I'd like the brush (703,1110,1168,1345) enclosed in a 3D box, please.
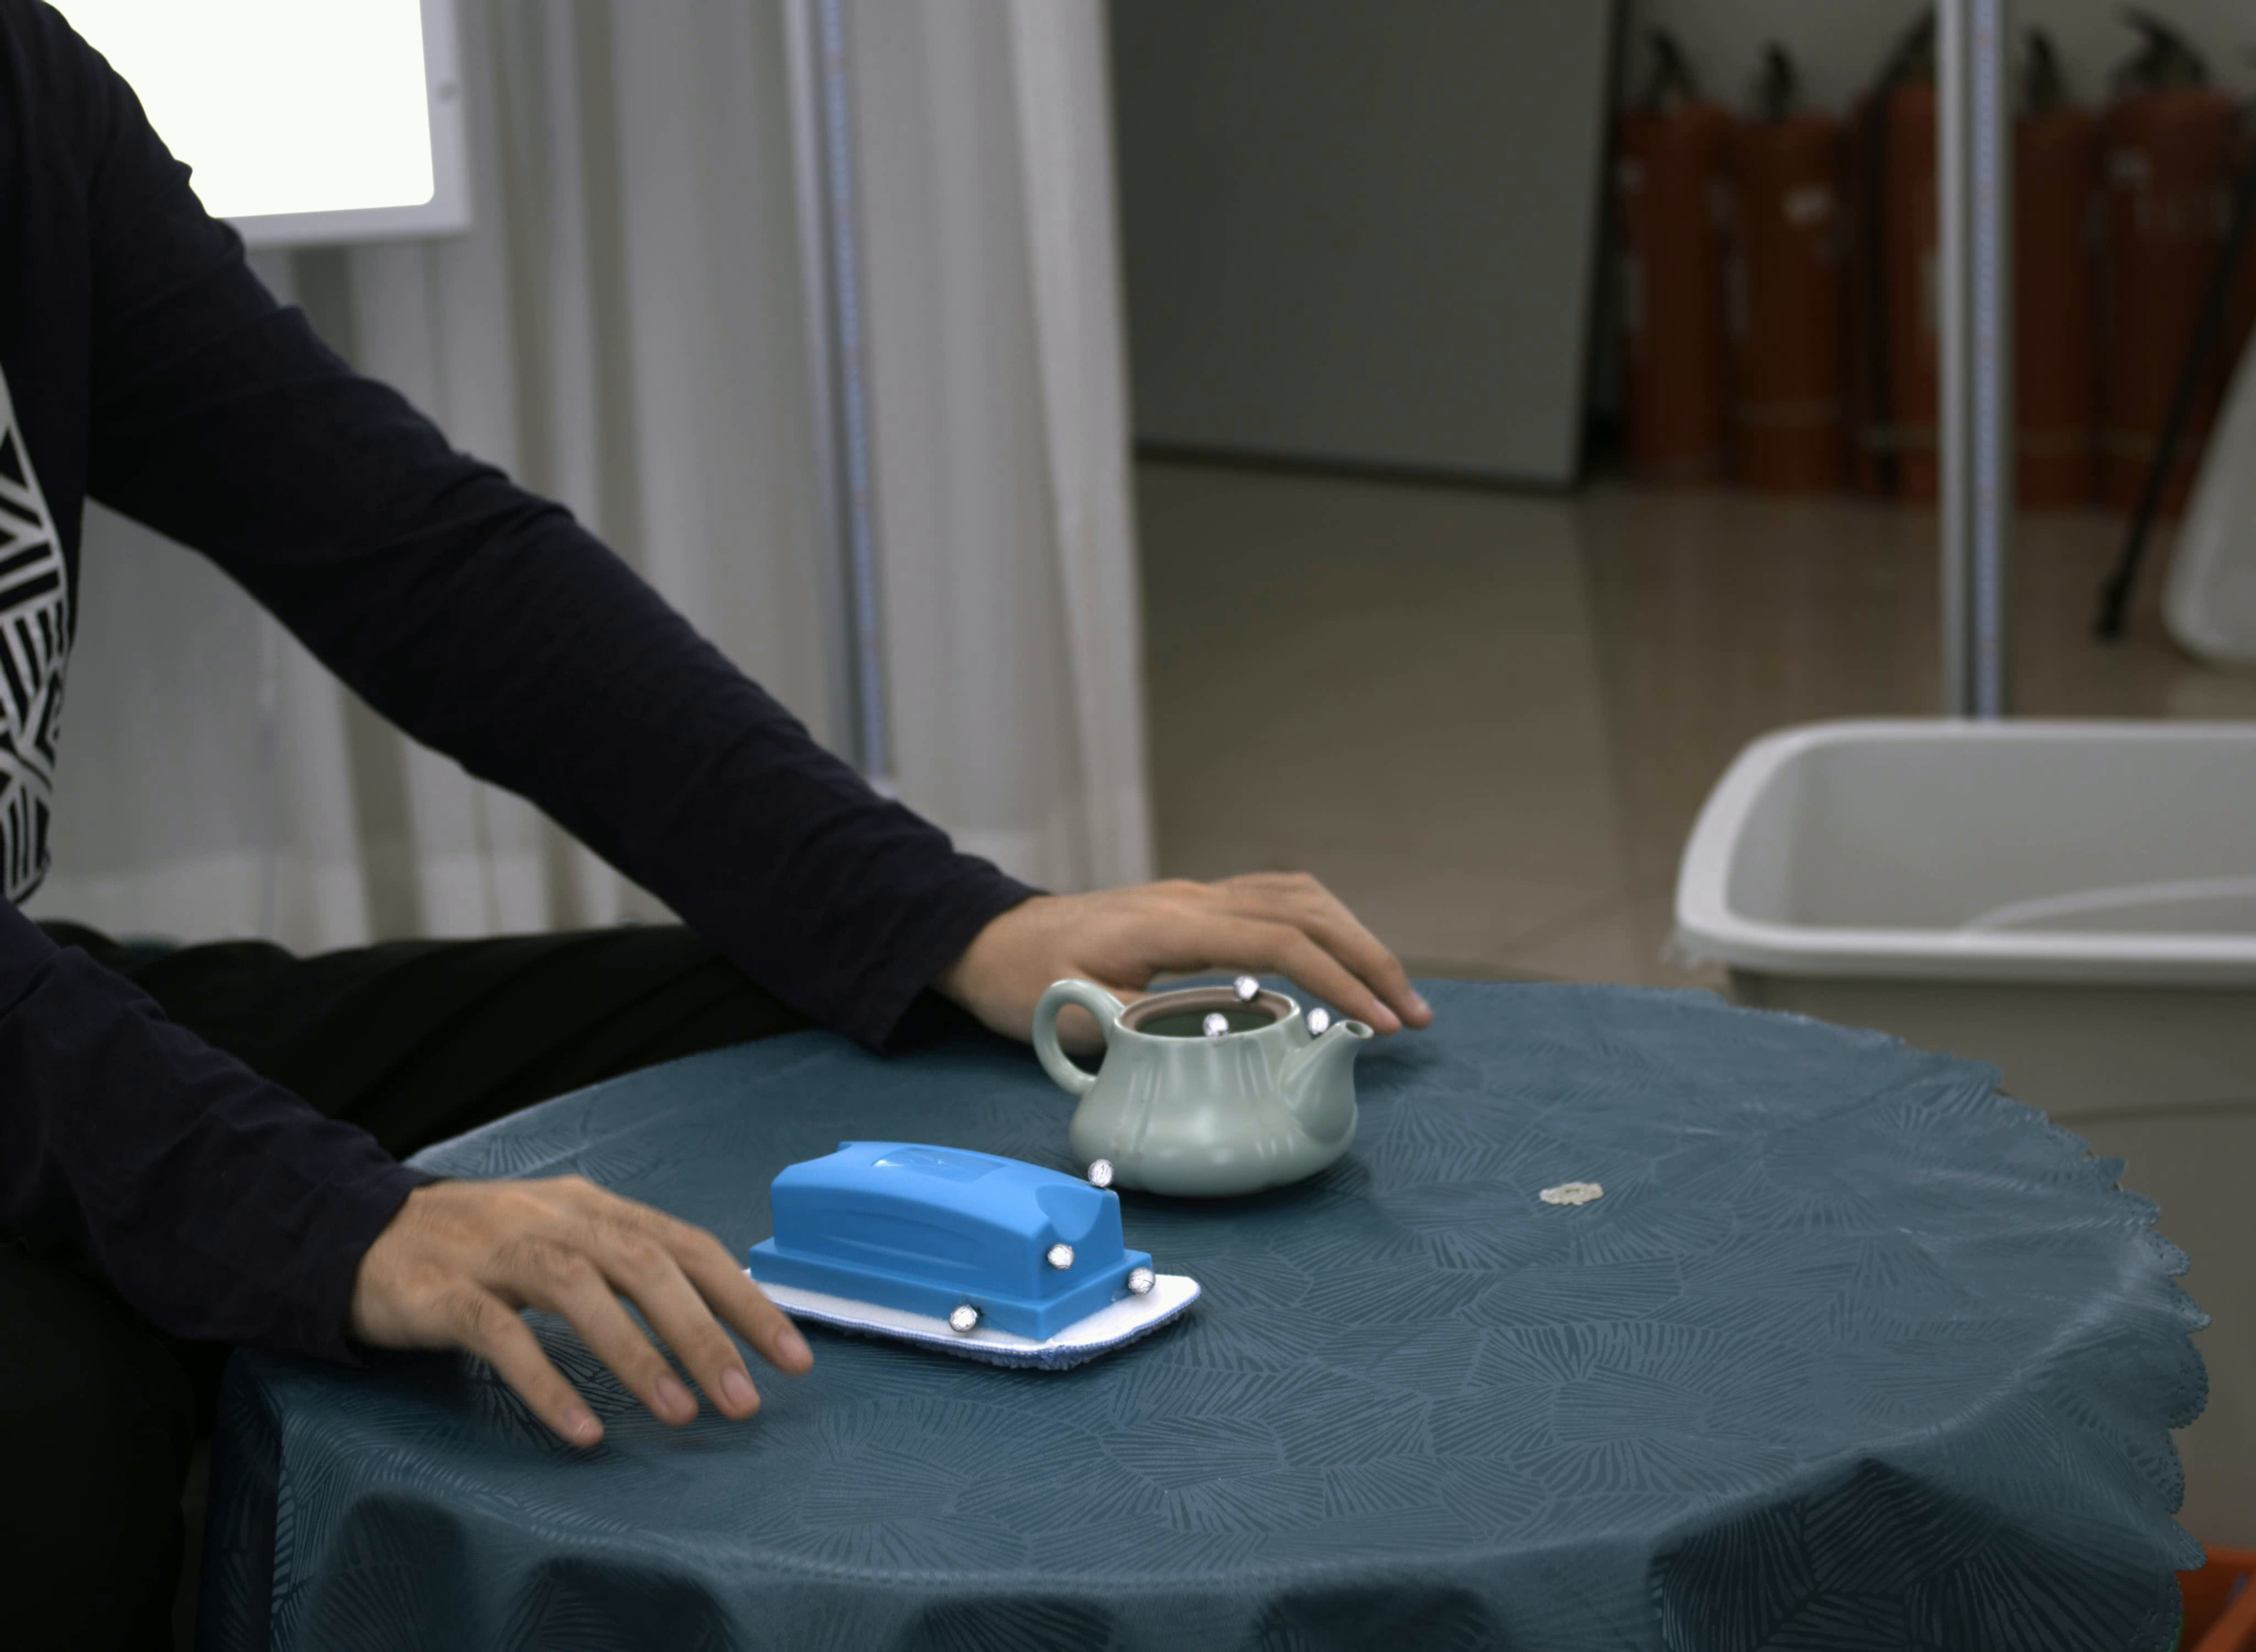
[{"bbox_3d":[-0.059,0.122,1.661,0.145,0.056,0.082,11,17,40],"label":"brush"}]

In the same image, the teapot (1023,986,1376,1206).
[{"bbox_3d":[0.023,0.088,1.780,0.138,0.062,0.094,6,18,34],"label":"teapot"}]
